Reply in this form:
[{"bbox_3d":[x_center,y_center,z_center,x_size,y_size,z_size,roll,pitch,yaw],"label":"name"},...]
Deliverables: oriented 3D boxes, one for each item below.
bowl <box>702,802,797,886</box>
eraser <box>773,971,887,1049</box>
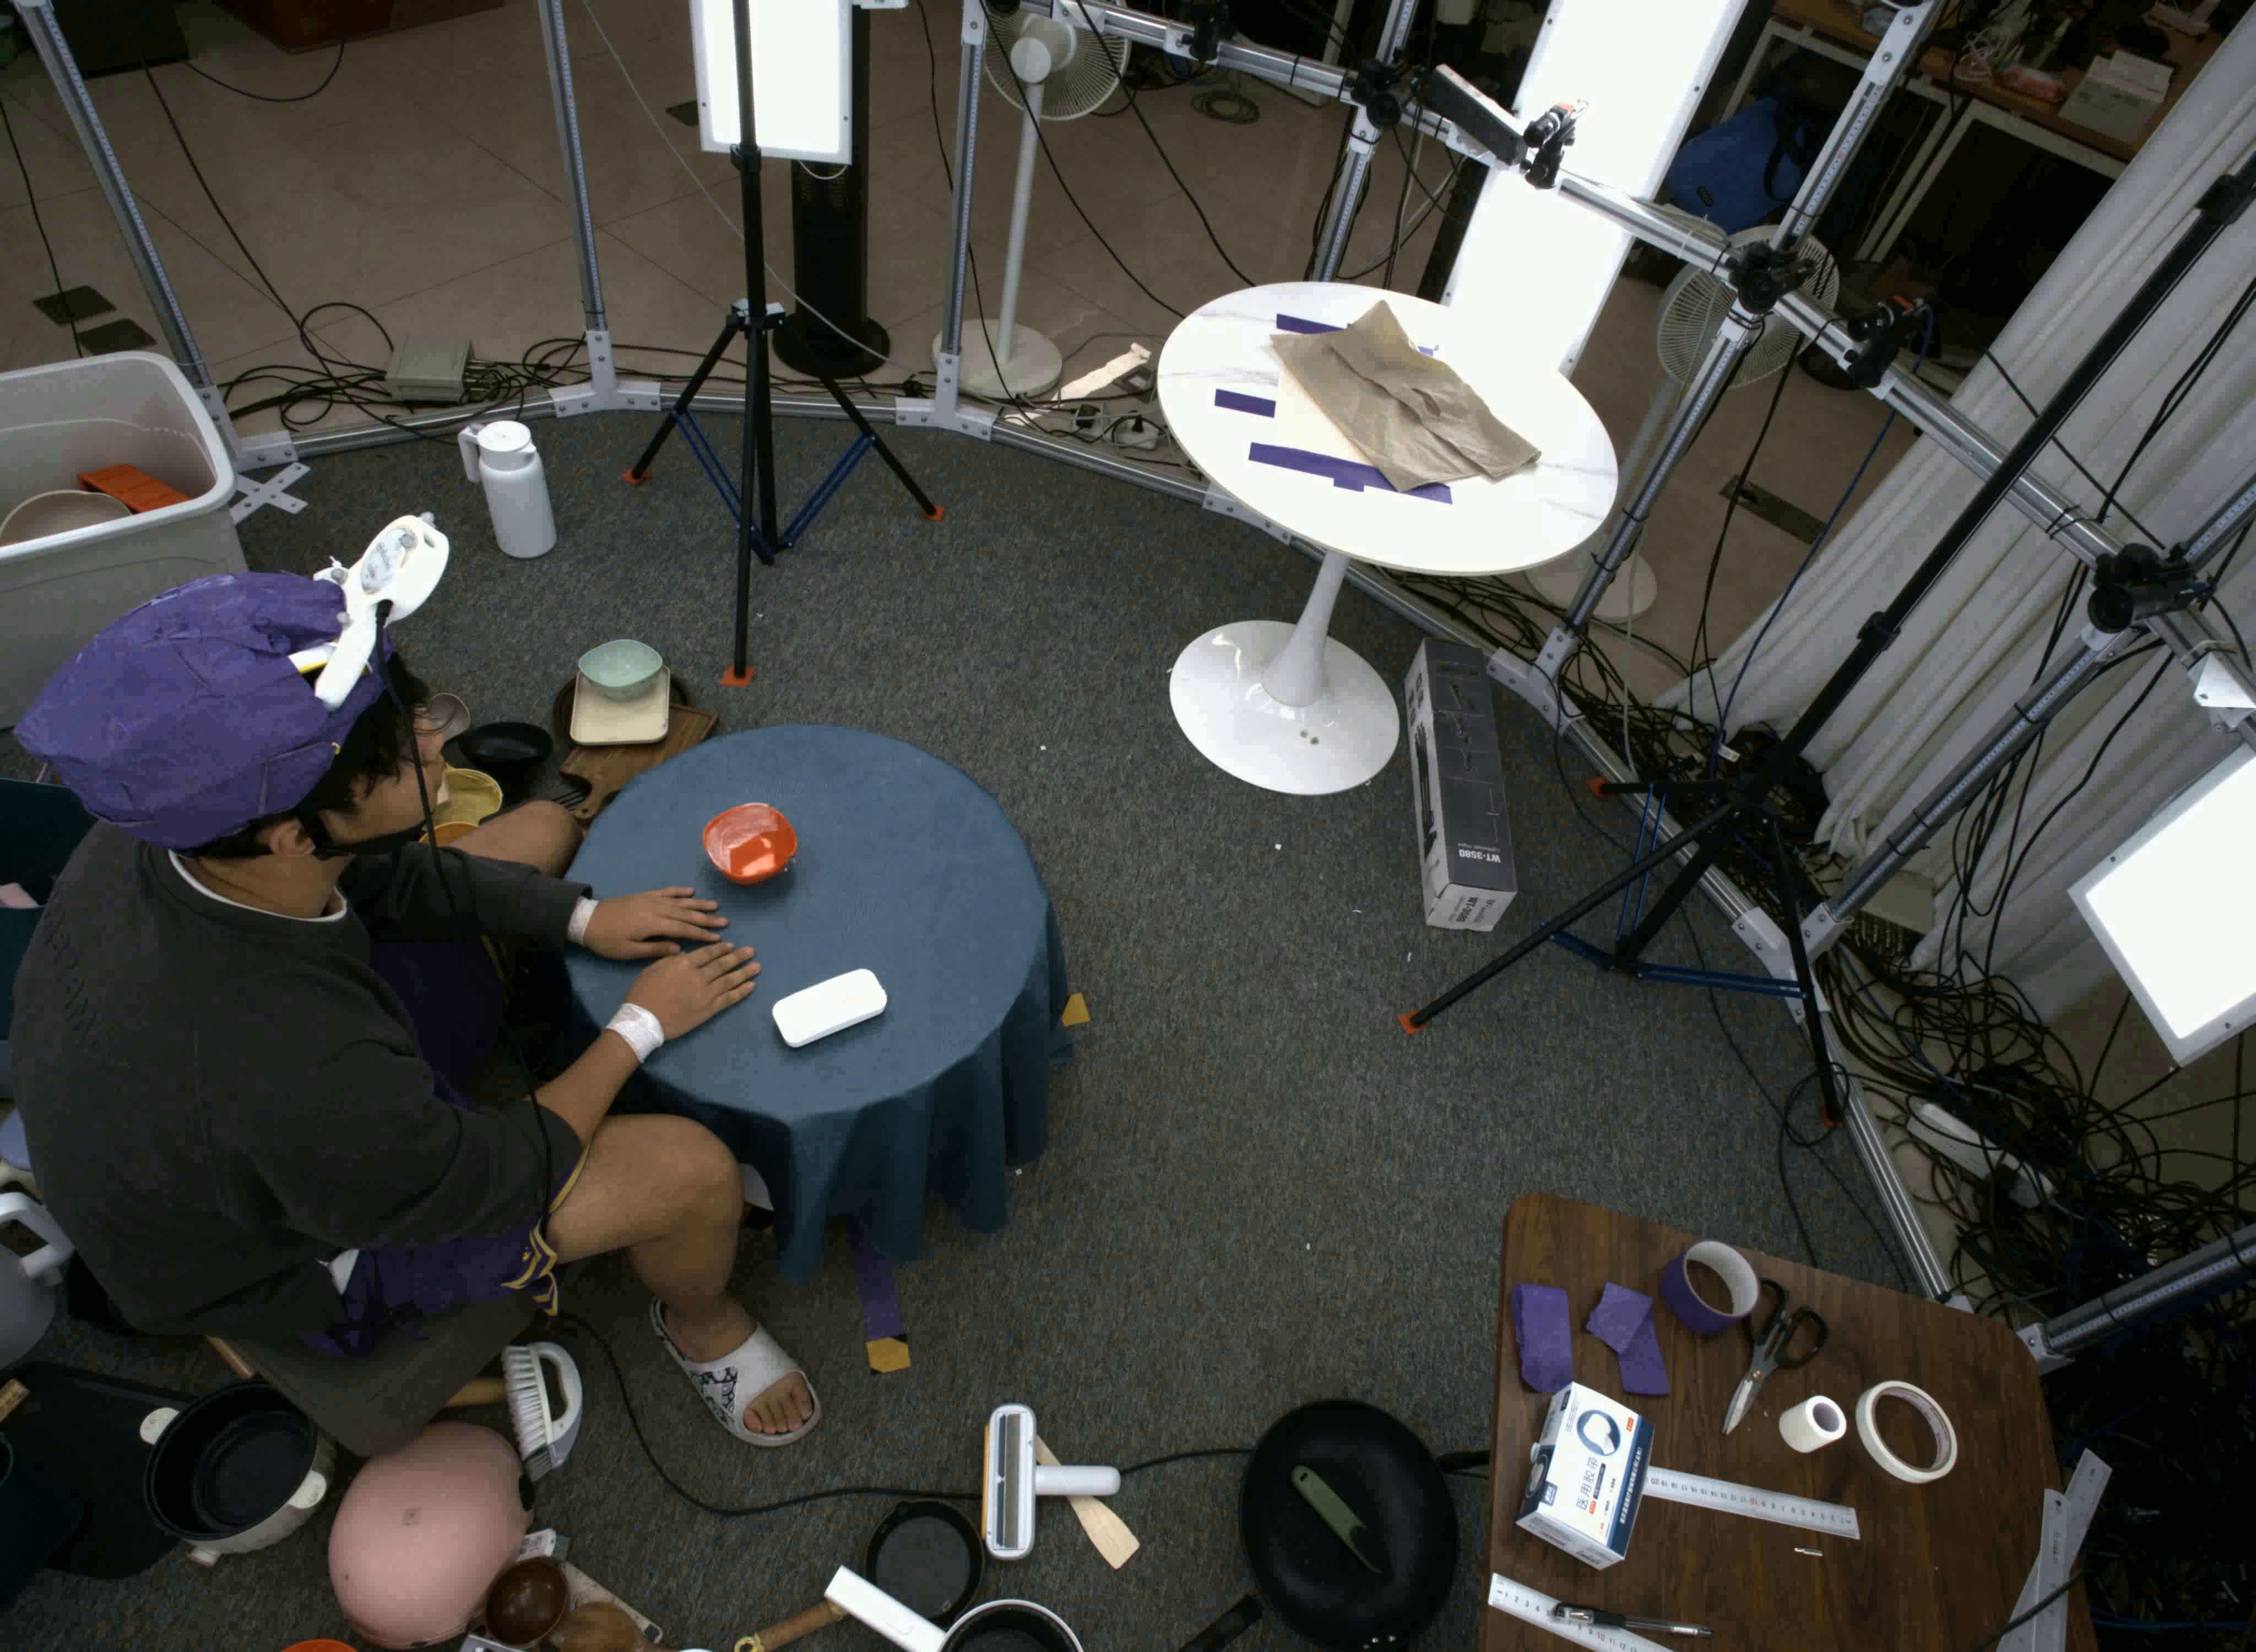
[{"bbox_3d":[-0.483,0.030,1.658,0.119,0.052,0.117,8,53,-9],"label":"bowl"},{"bbox_3d":[-0.359,0.216,1.563,0.132,0.035,0.062,-19,59,-27],"label":"eraser"}]
